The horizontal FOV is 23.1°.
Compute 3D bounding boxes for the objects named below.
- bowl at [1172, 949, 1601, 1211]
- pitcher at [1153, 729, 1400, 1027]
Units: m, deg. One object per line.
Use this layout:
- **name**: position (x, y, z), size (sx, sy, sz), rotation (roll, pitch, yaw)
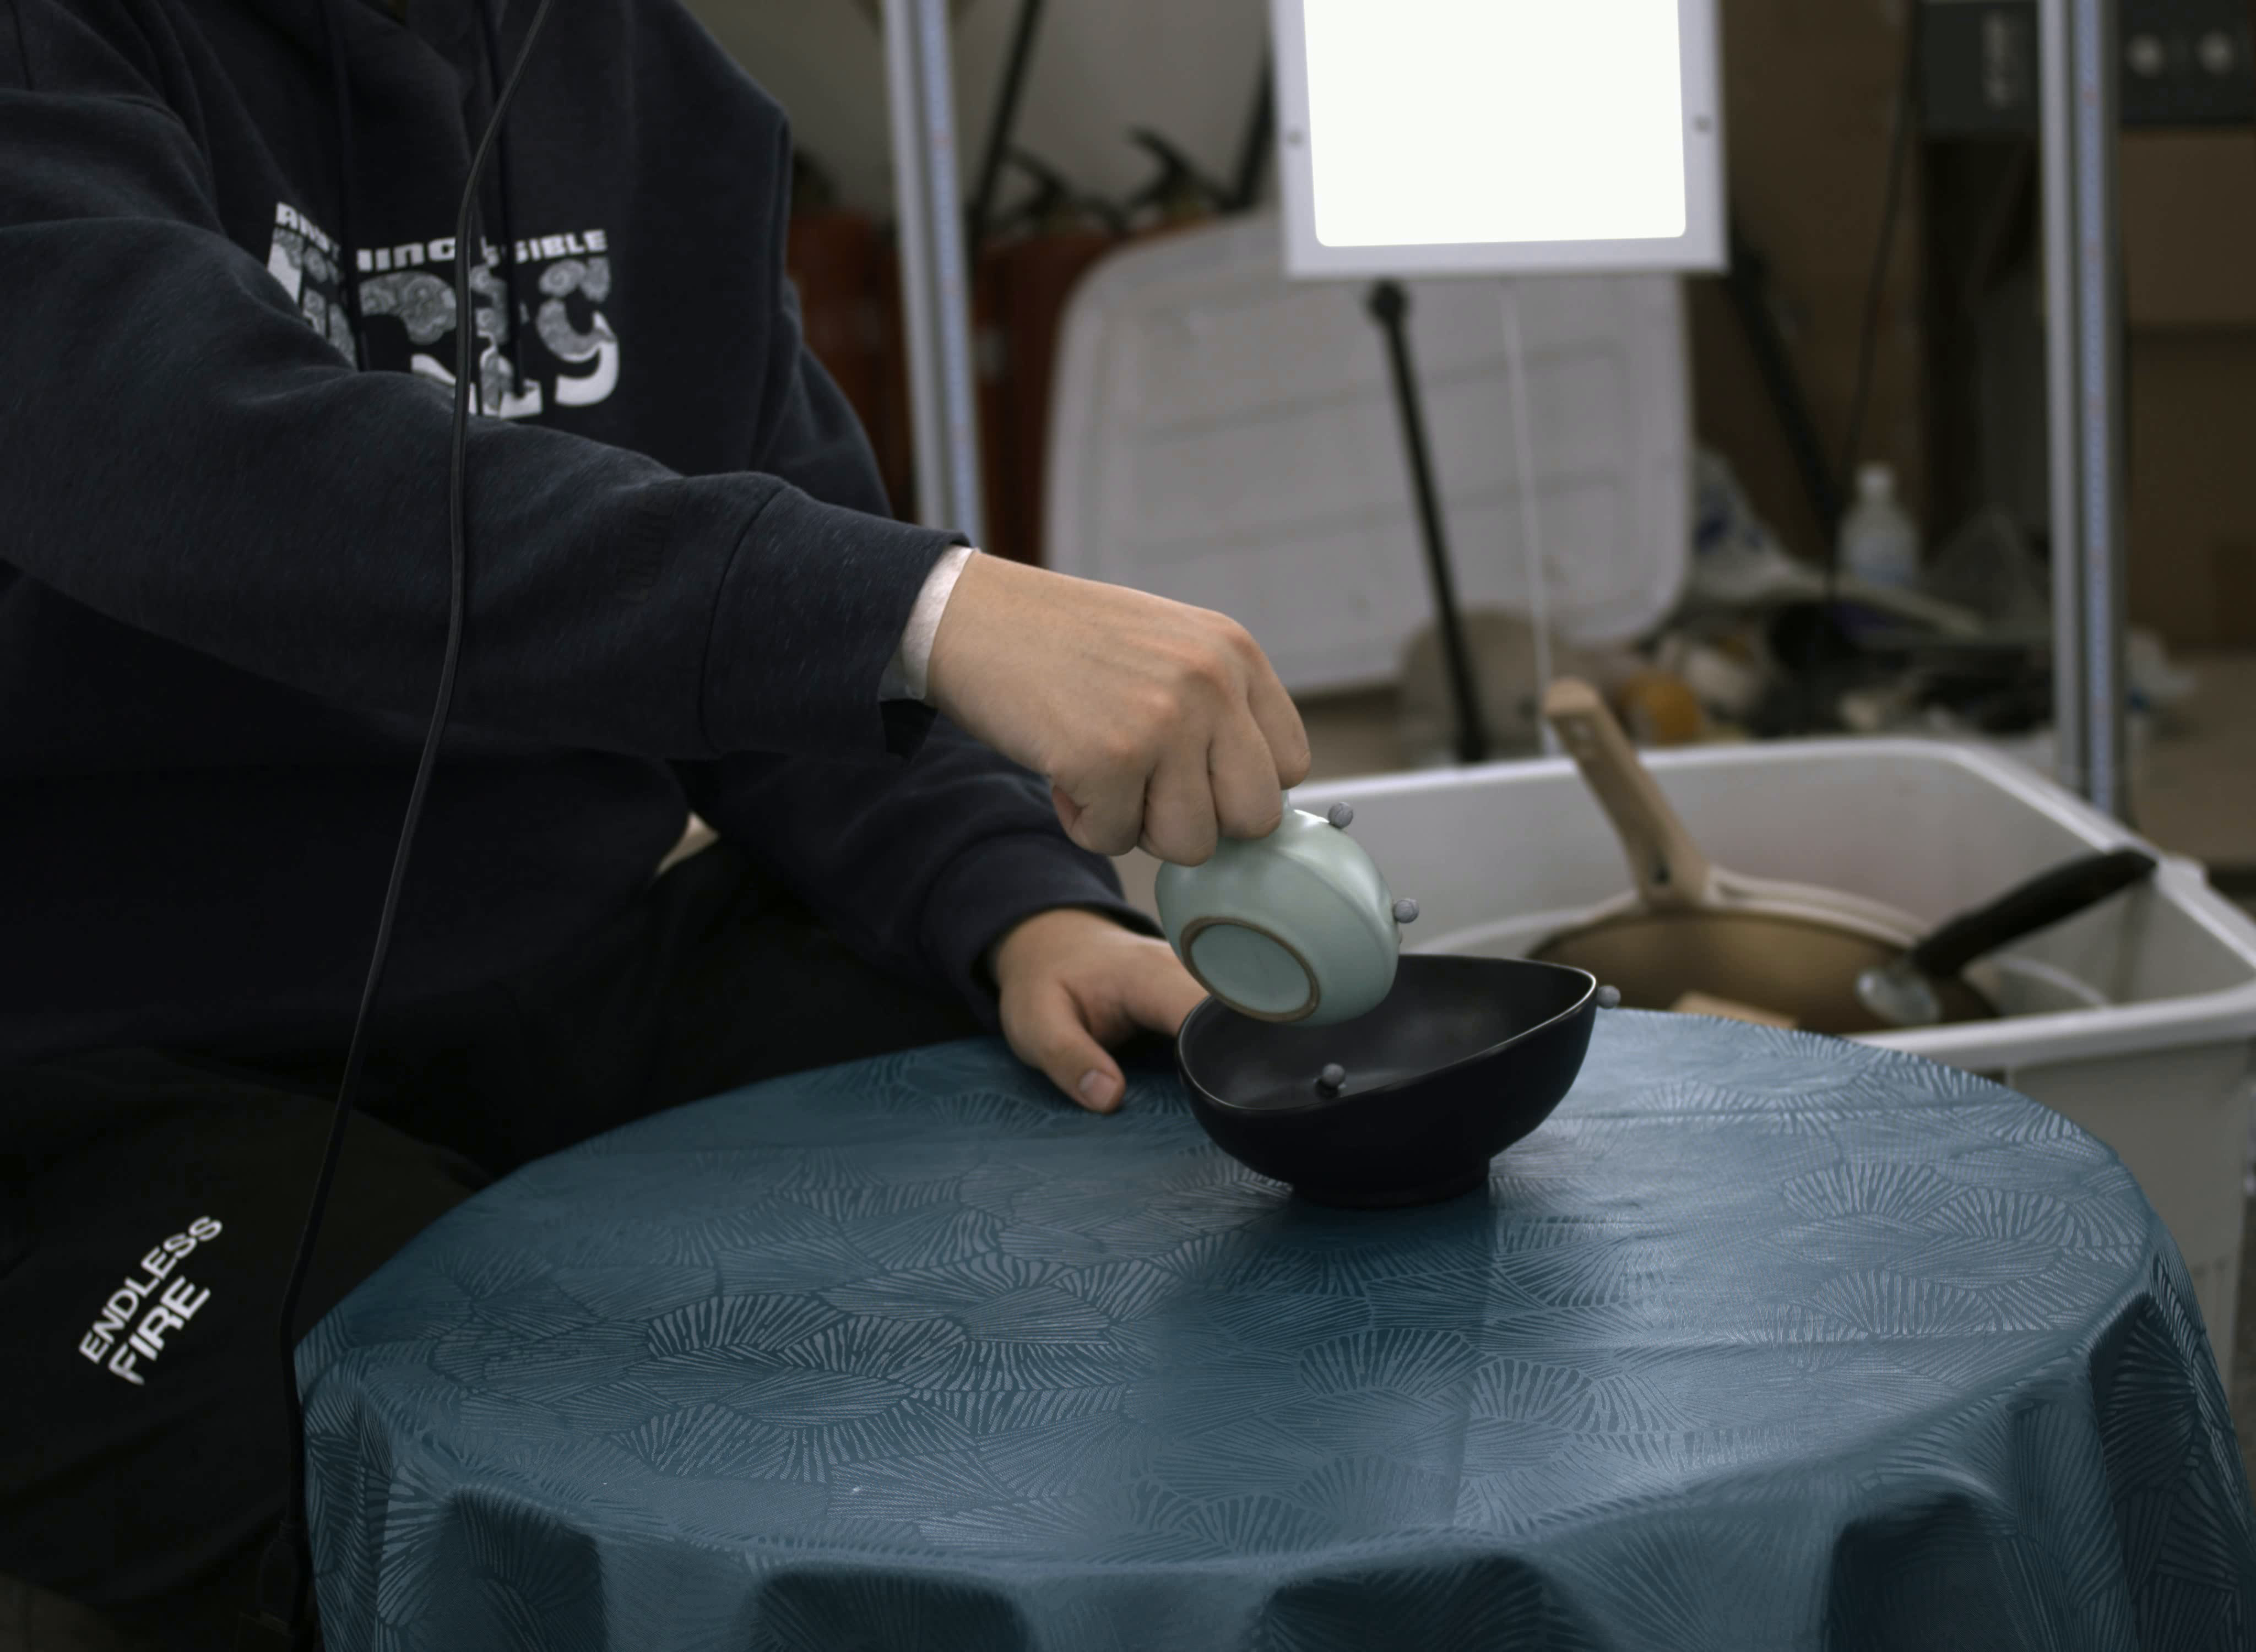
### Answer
- **bowl**: position (0.091, 0.091, 1.882), size (0.140, 0.067, 0.166), rotation (4, 17, 35)
- **pitcher**: position (0.047, 0.019, 1.803), size (0.088, 0.107, 0.059), rotation (3, 48, 36)
